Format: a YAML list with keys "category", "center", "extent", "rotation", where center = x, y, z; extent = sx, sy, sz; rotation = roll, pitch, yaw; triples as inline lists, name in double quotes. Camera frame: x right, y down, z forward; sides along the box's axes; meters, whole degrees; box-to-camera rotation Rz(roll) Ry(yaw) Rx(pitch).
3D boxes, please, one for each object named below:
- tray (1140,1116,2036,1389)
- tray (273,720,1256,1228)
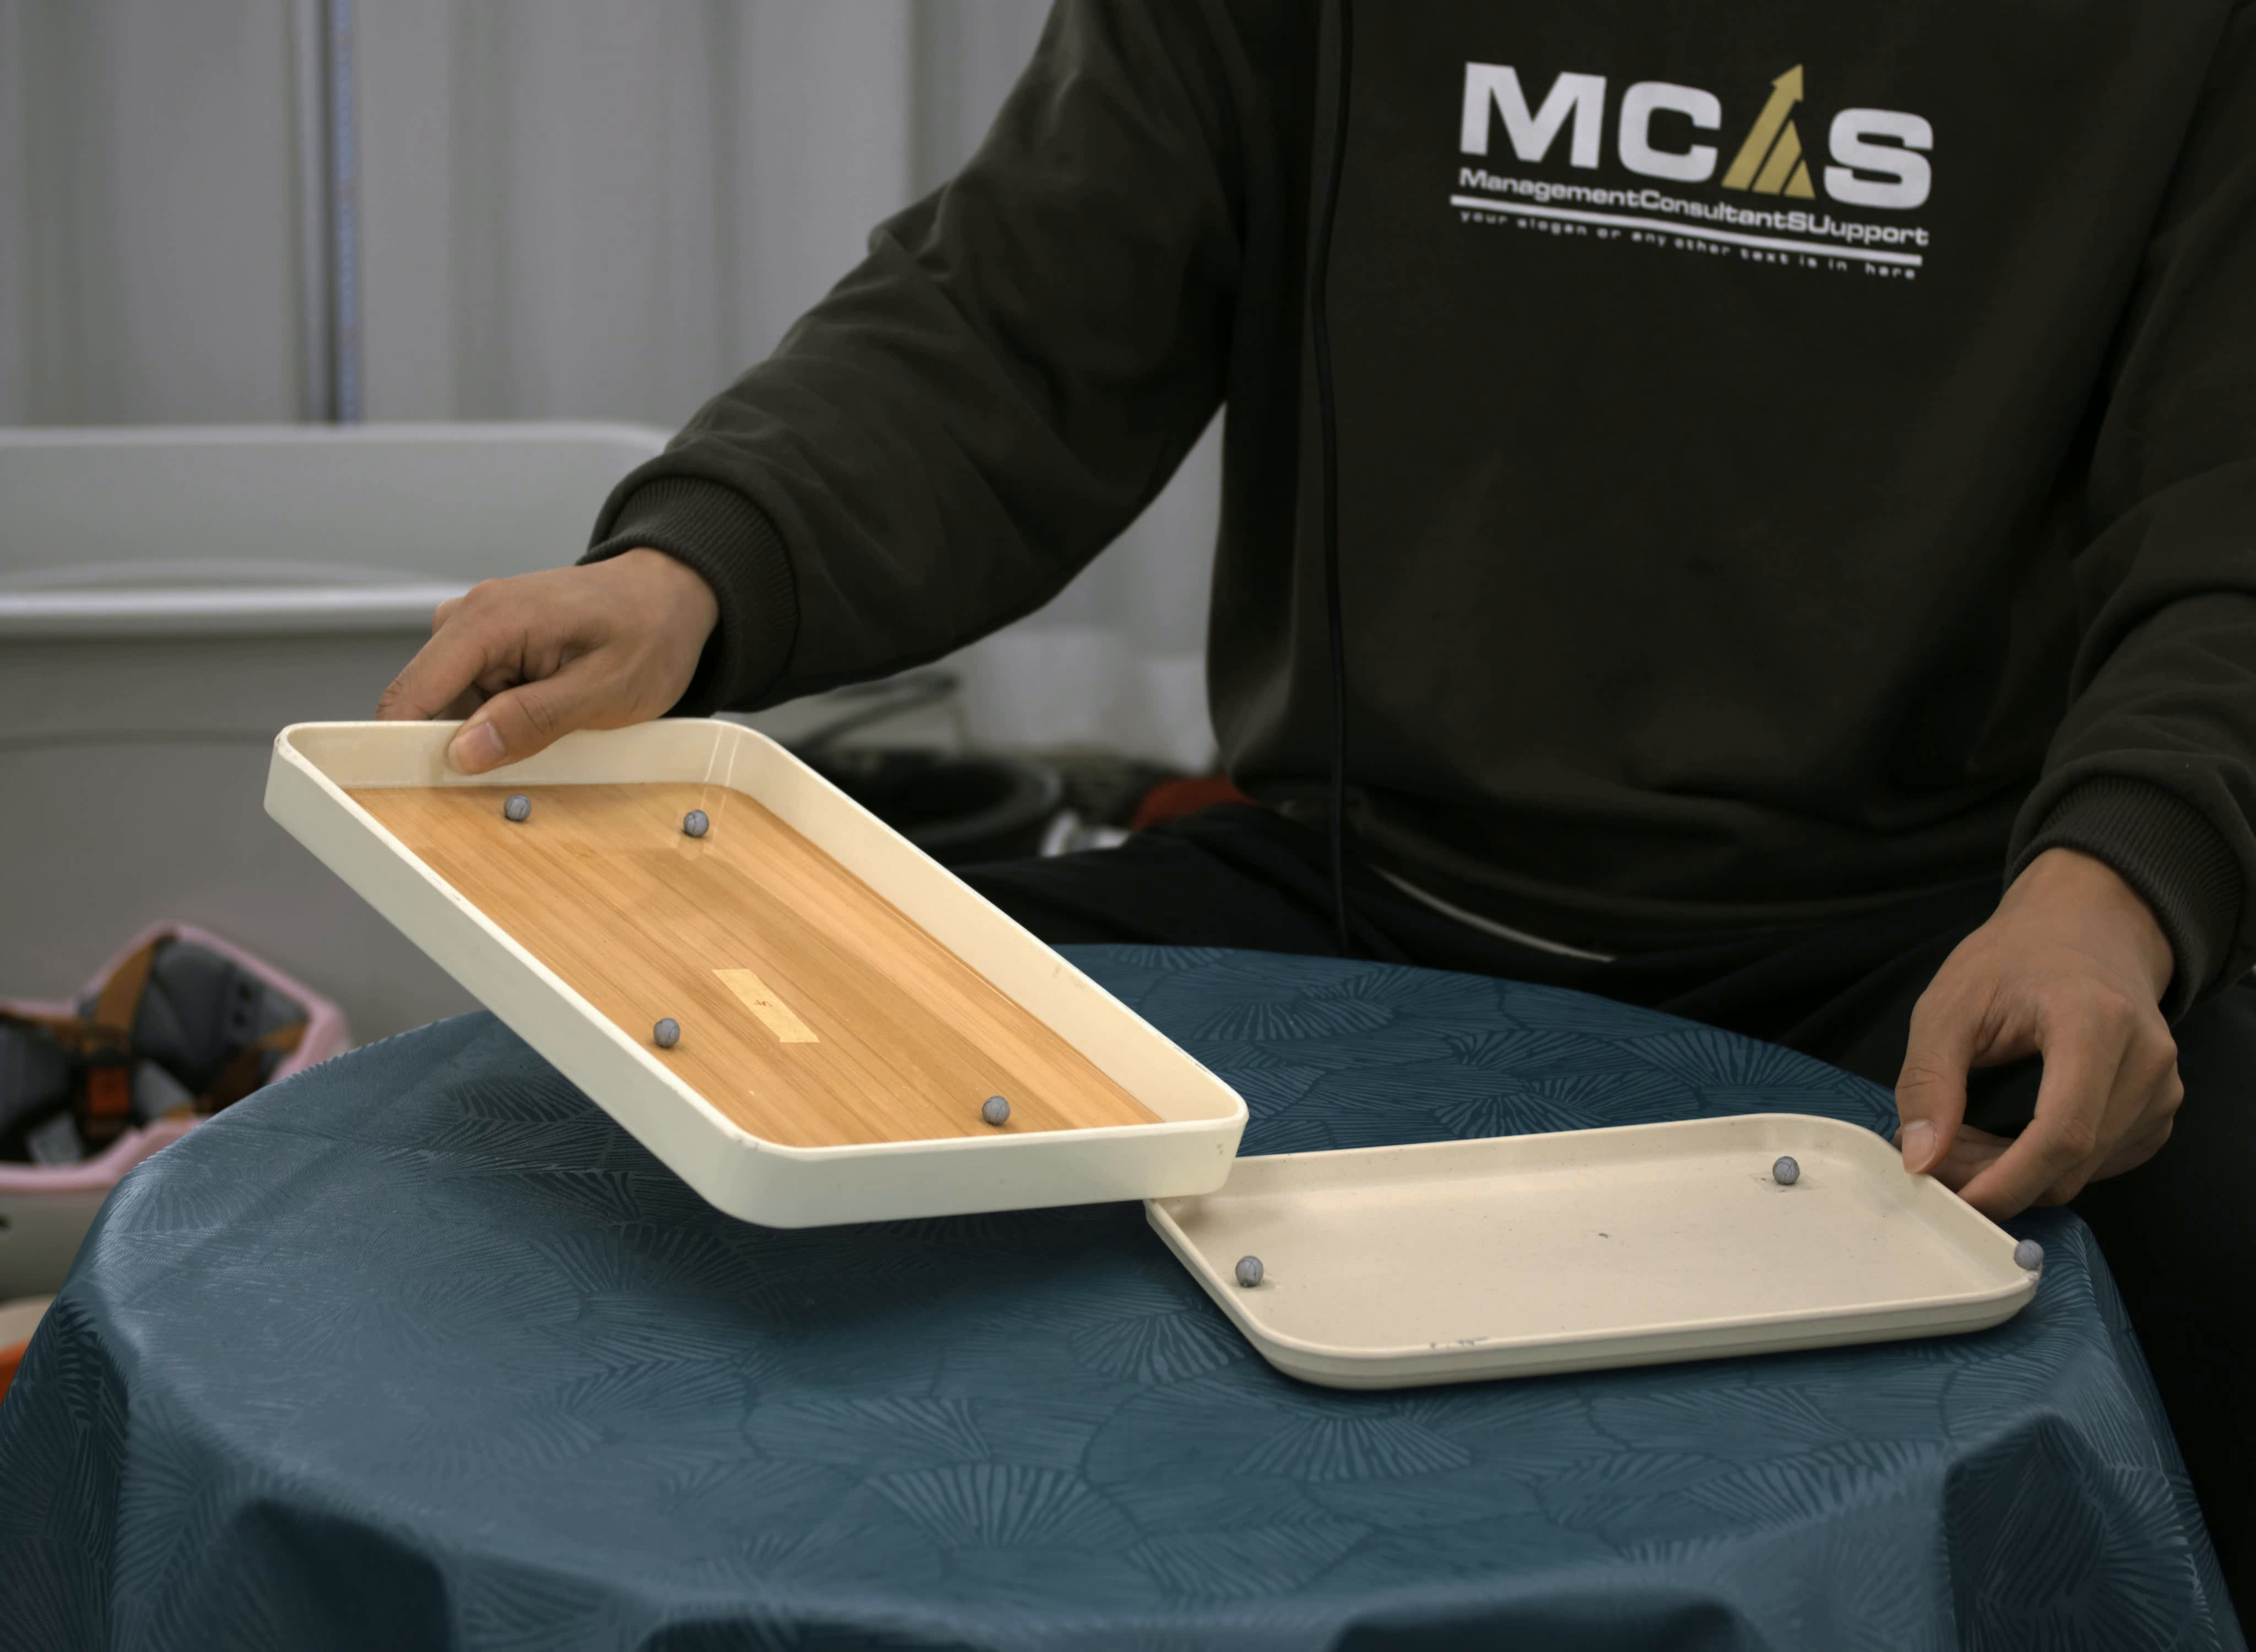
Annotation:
- category: "tray"
  center: [0.134, 0.126, 1.559]
  extent: [0.240, 0.017, 0.169]
  rotation: [-4, 15, -17]
- category: "tray"
  center: [-0.116, 0.040, 1.628]
  extent: [0.193, 0.027, 0.296]
  rotation: [-2, 26, -40]
